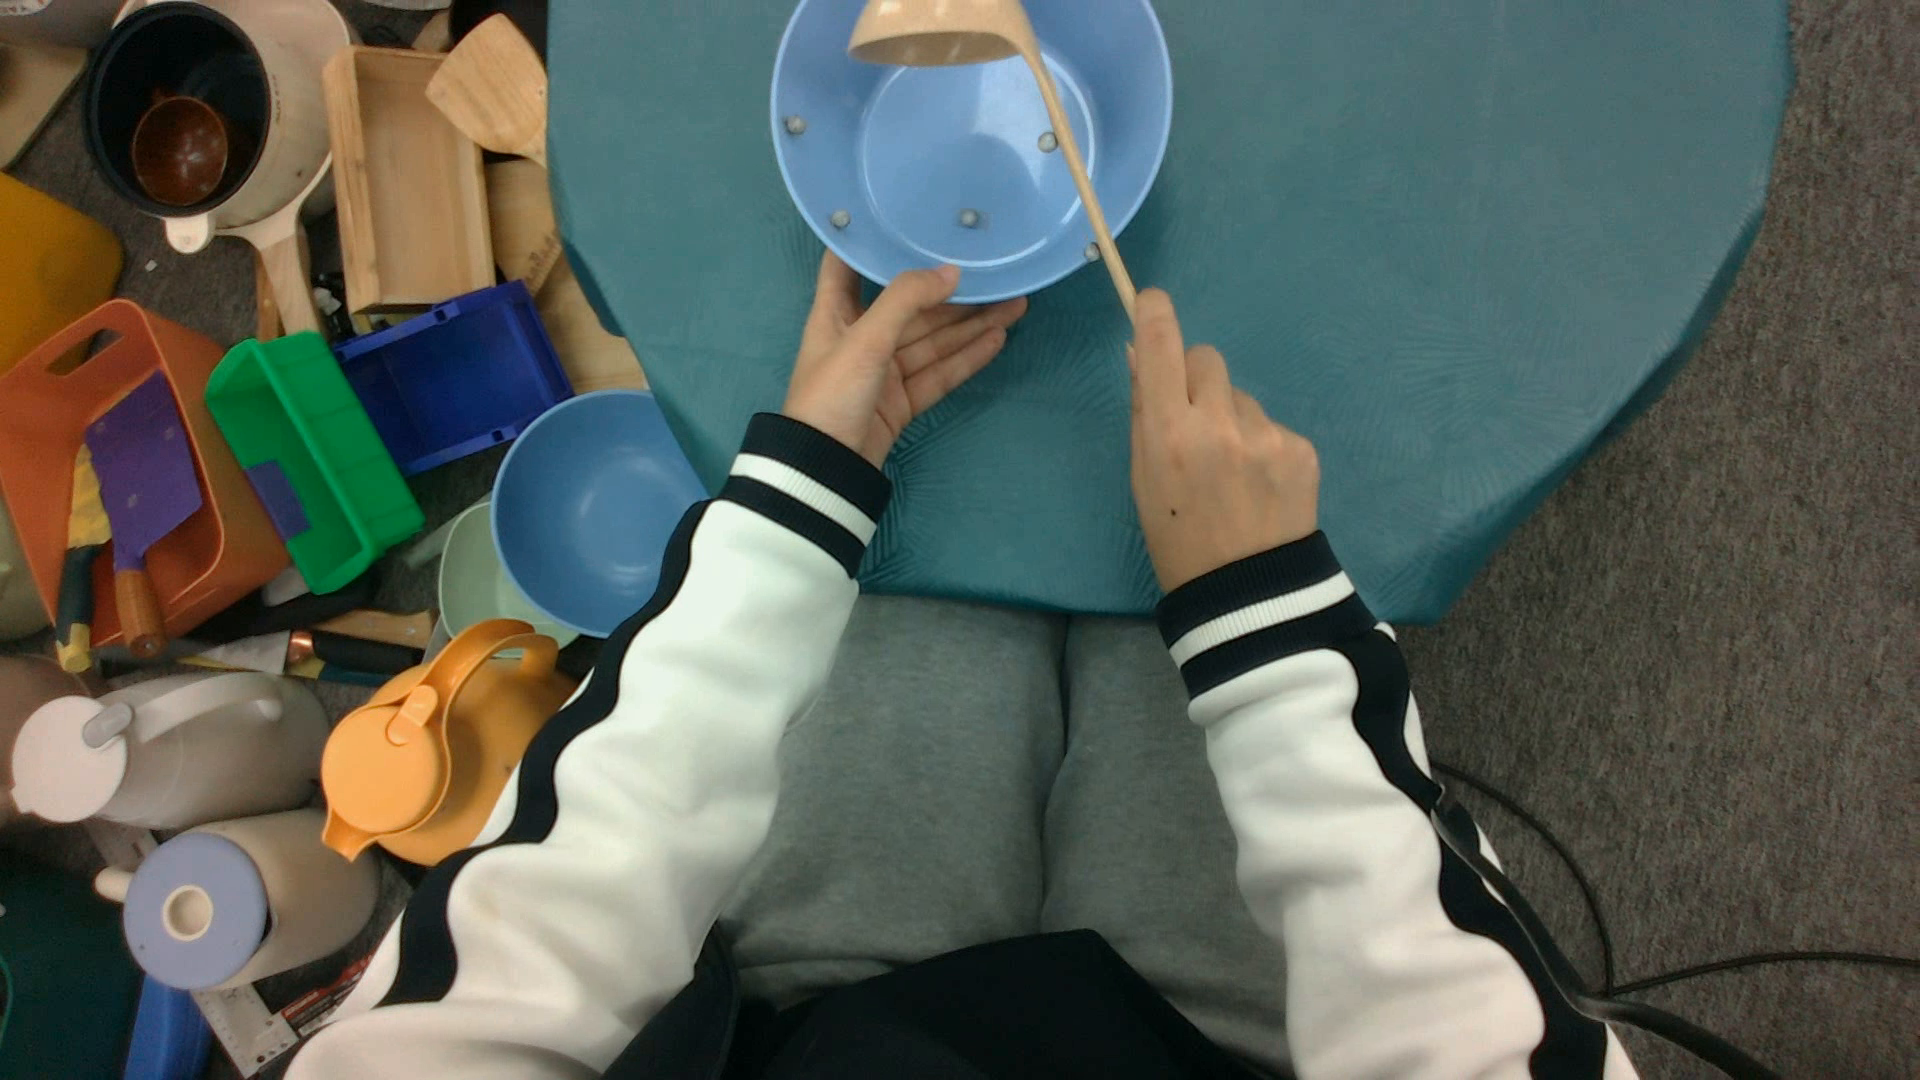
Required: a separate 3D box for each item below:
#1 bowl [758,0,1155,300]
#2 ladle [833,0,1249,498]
[{"bbox_3d":[0.000,-0.190,0.637,0.176,0.070,0.176,0,86,4],"label":"bowl"},{"bbox_3d":[0.030,-0.116,0.568,0.072,0.072,0.254,-26,90,15],"label":"ladle"}]
